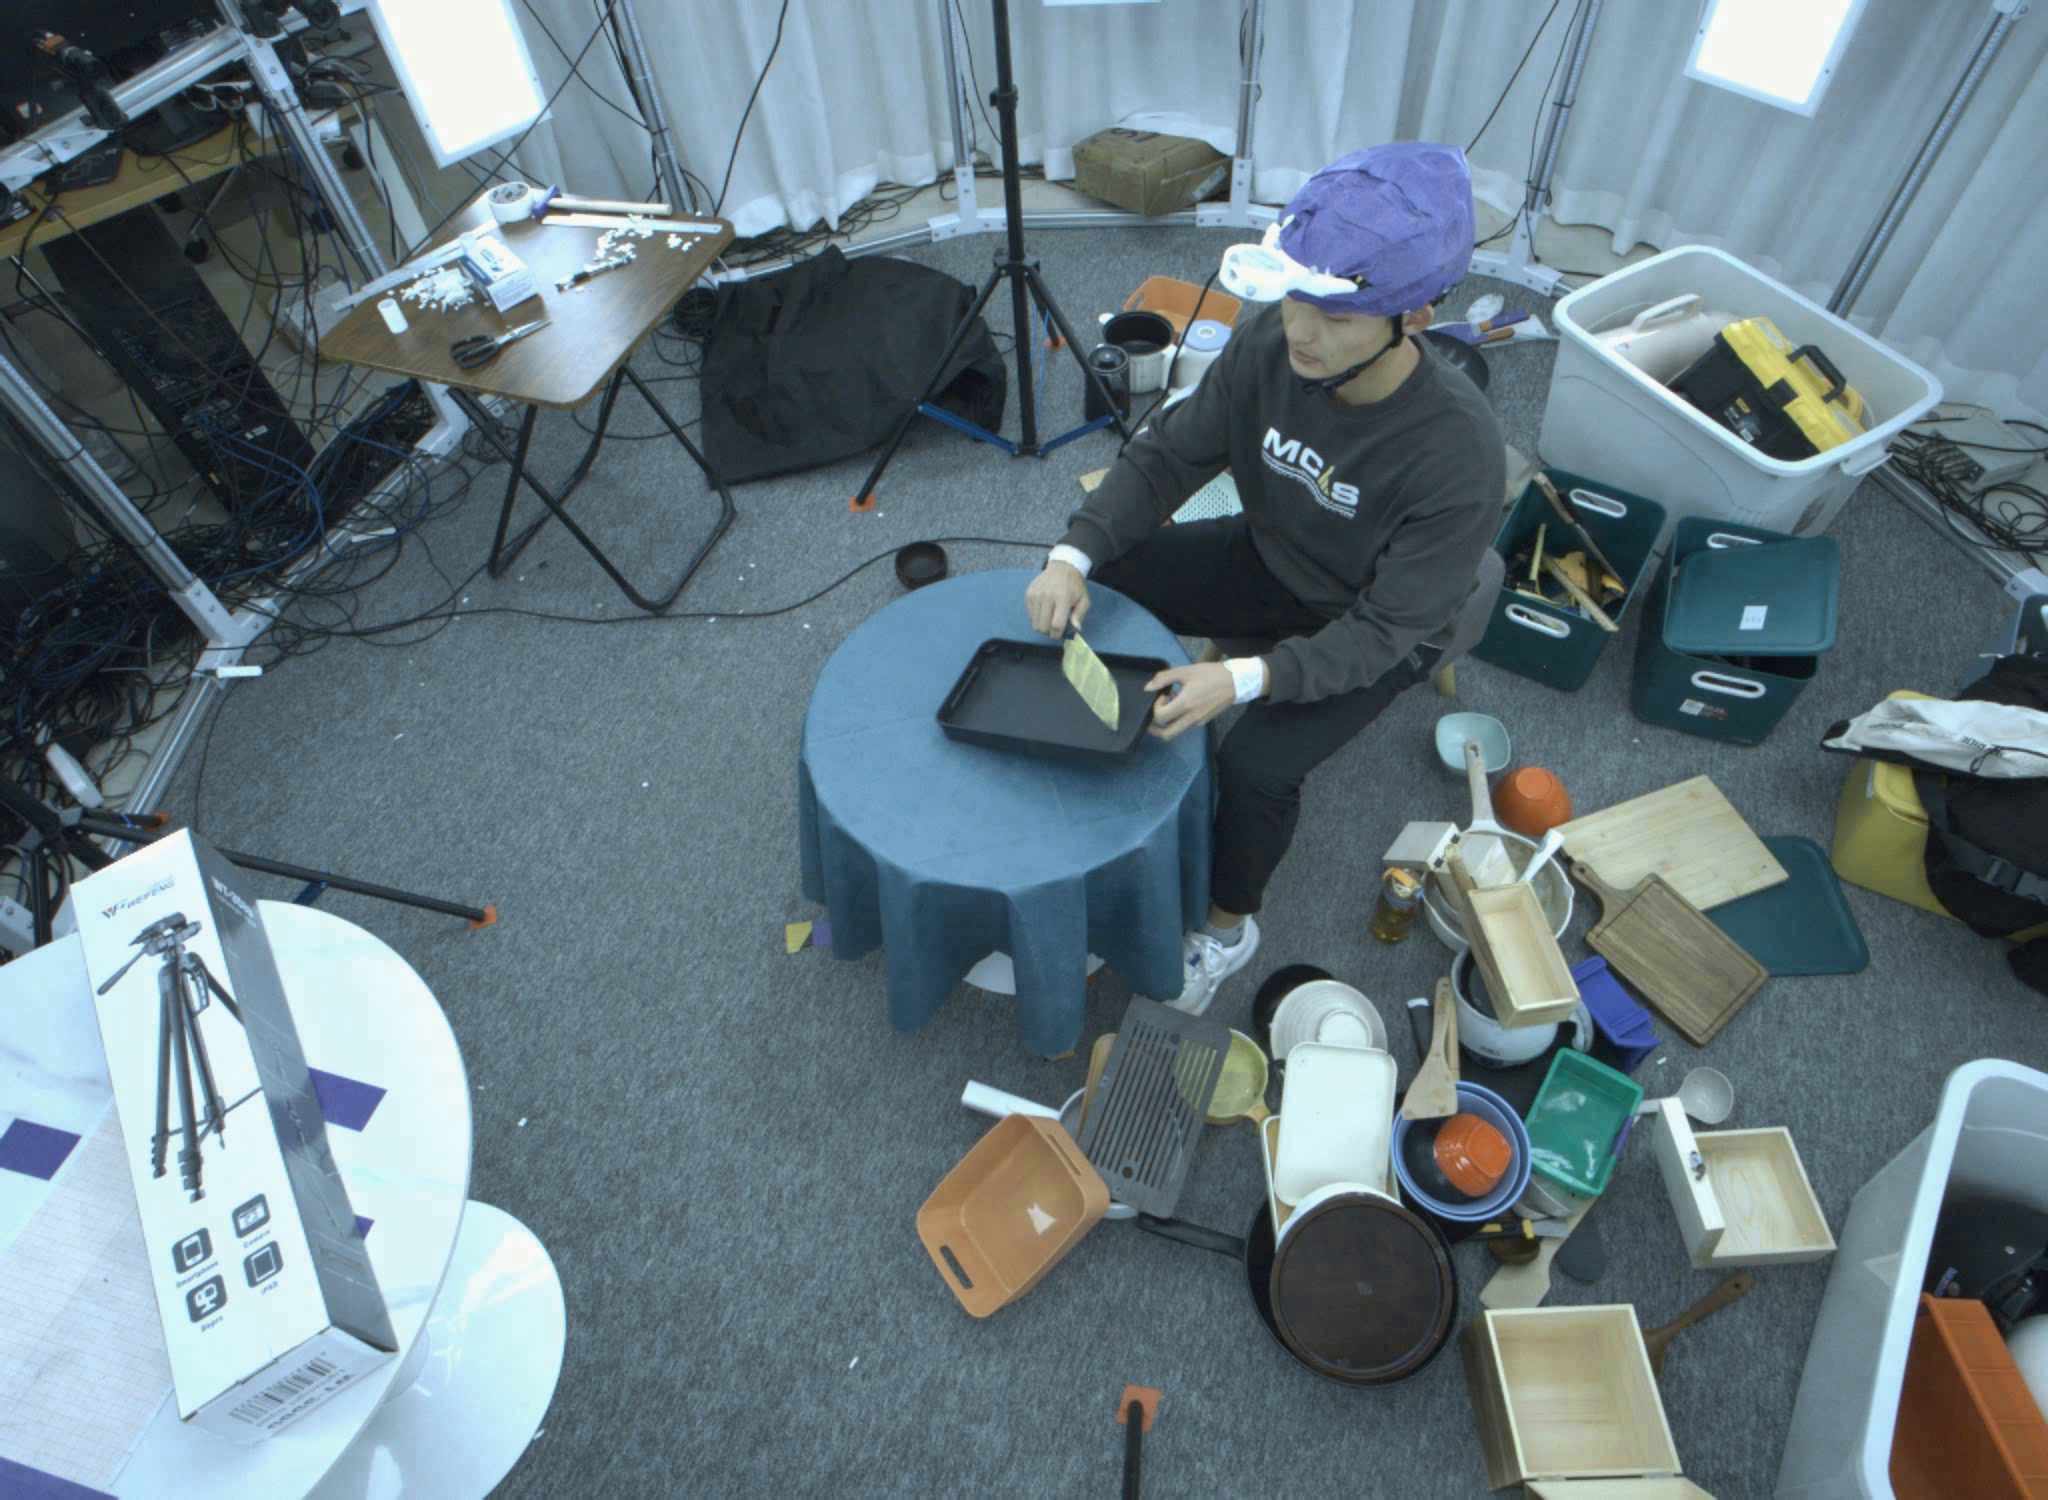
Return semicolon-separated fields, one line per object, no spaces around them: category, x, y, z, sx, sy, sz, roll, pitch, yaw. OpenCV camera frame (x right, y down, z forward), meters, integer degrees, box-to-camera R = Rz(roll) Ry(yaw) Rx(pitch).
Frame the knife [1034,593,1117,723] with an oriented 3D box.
knife;0.073;-0.137;1.793;0.028;0.081;0.284;-2;42;-28

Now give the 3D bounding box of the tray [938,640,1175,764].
tray;0.047;-0.074;1.774;0.312;0.037;0.184;8;51;27
